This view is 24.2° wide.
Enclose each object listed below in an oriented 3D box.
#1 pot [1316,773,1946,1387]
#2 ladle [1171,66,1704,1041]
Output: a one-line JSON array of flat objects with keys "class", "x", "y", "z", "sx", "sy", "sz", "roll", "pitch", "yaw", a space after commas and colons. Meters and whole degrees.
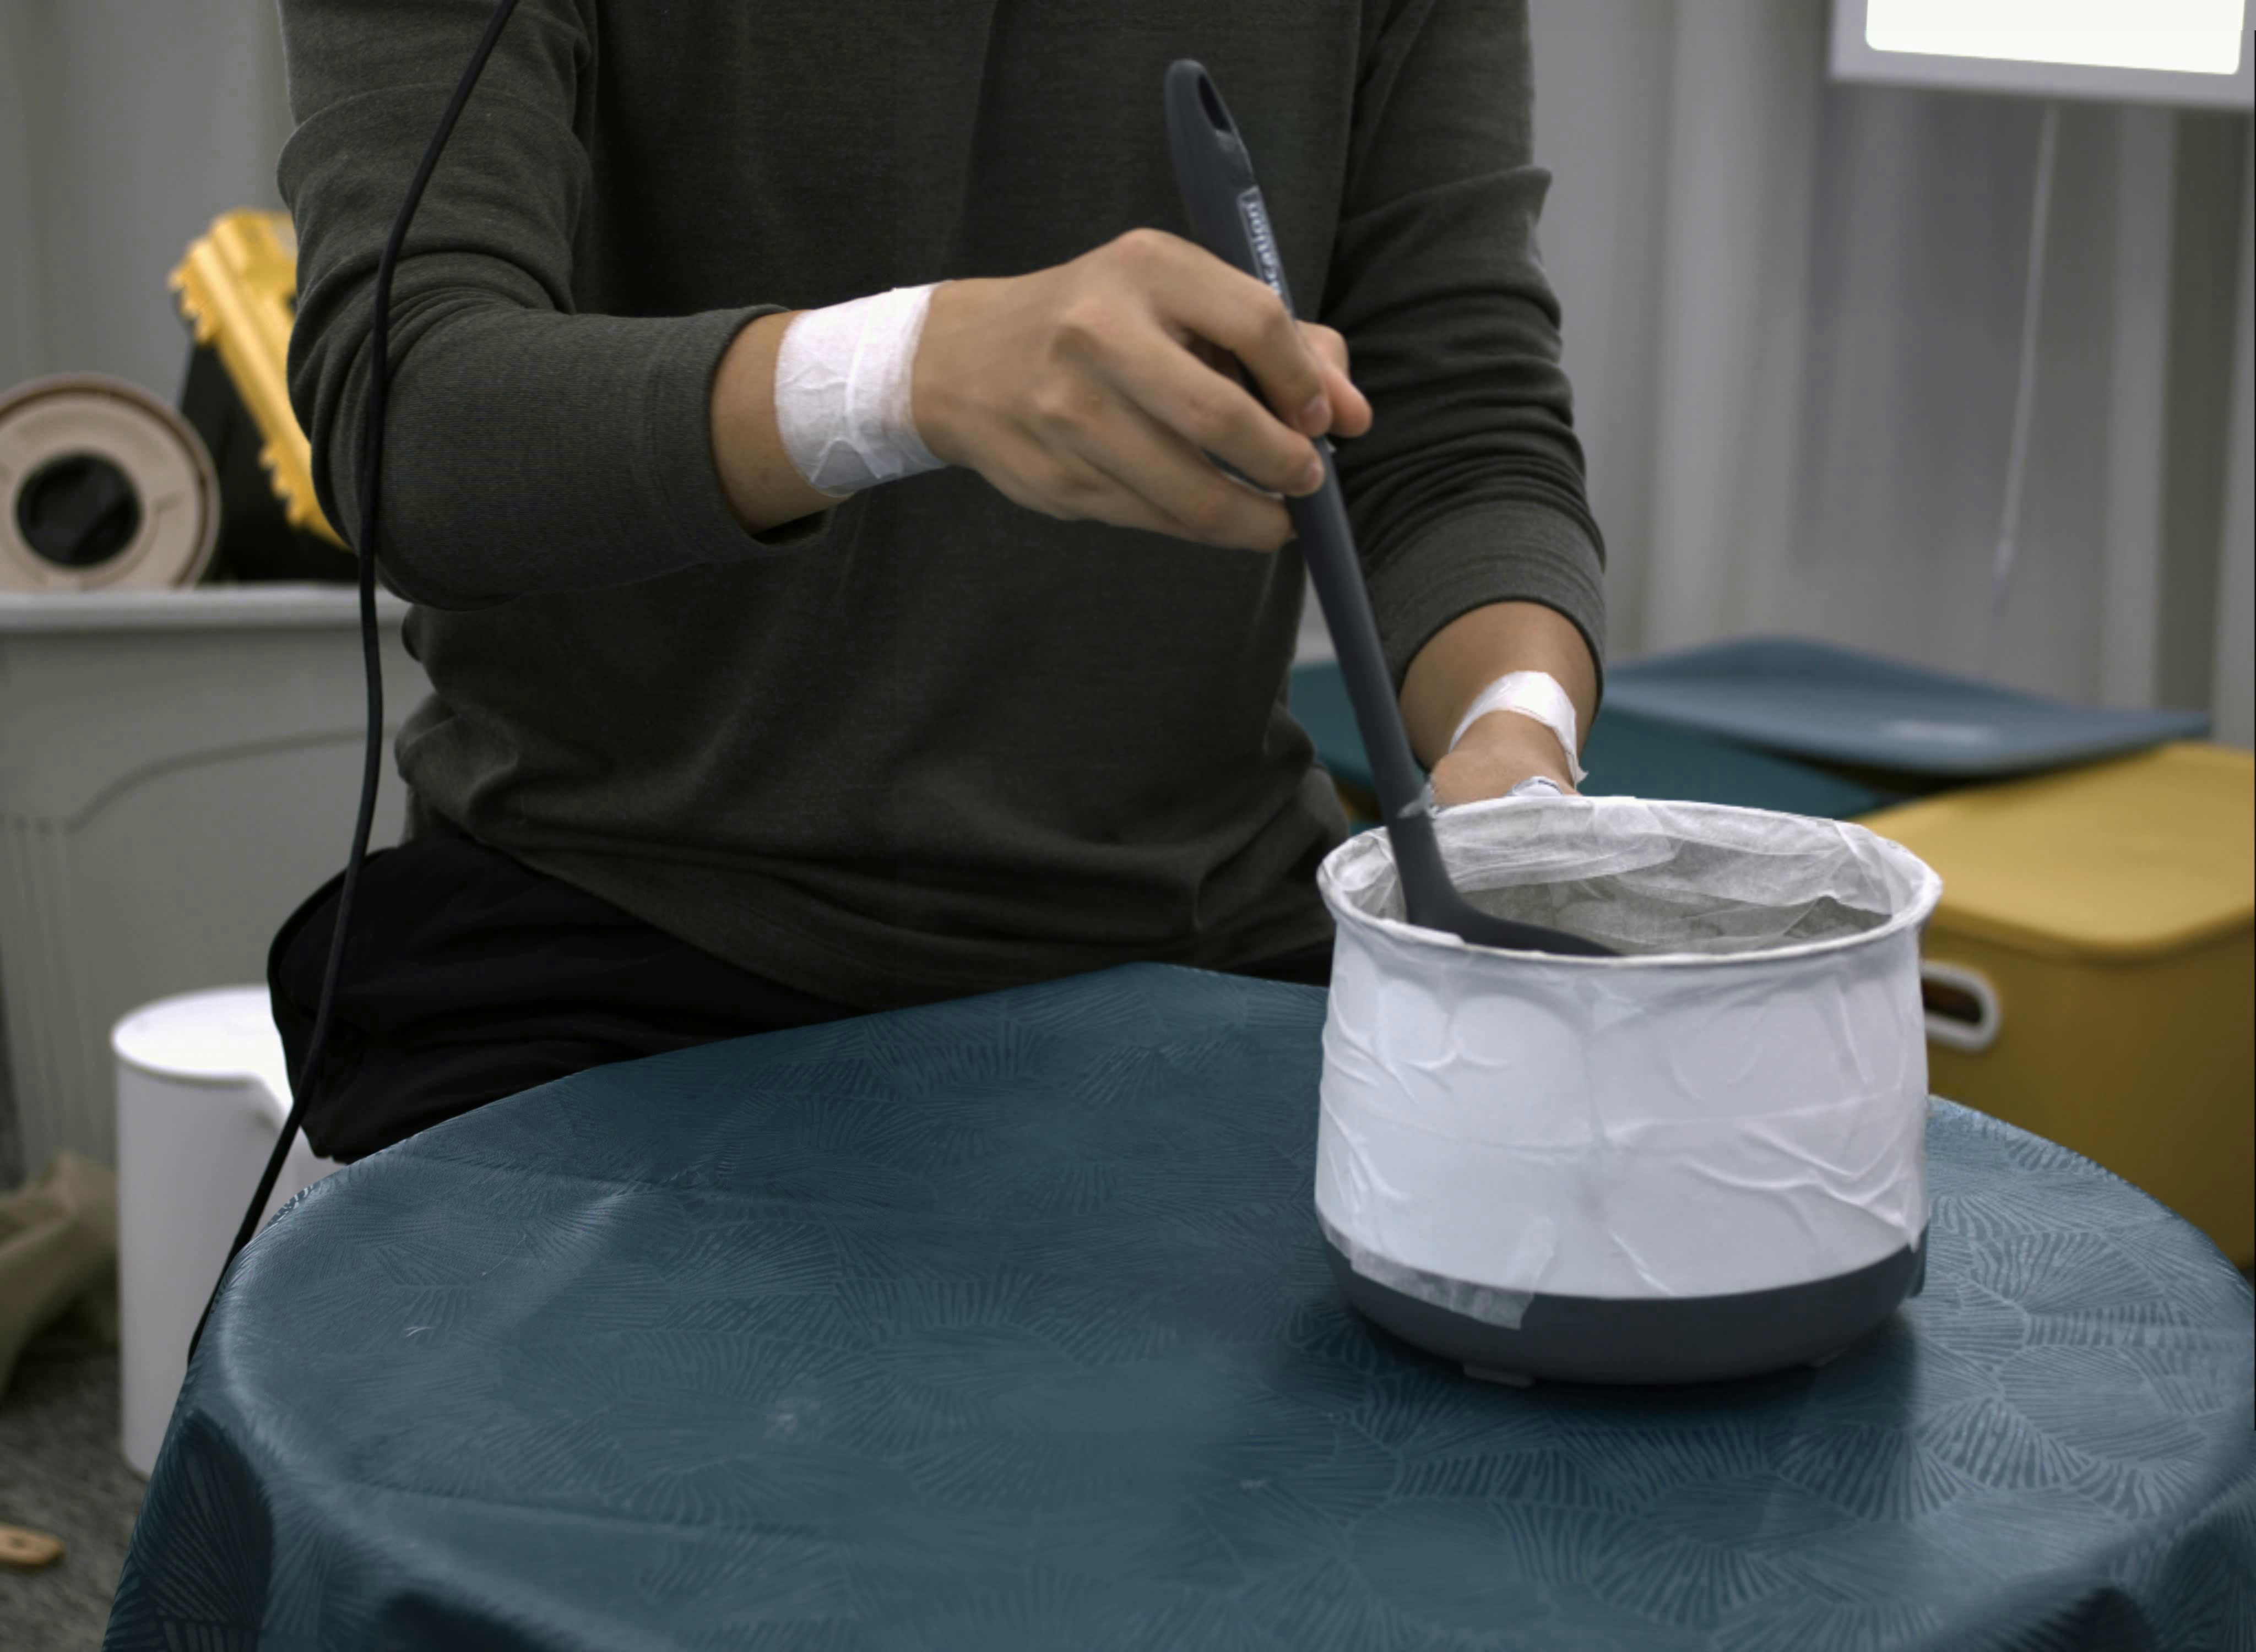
[{"class": "pot", "x": 0.136, "y": 0.068, "z": 1.531, "sx": 0.179, "sy": 0.137, "sz": 0.231, "roll": -3, "pitch": 15, "yaw": -12}, {"class": "ladle", "x": 0.083, "y": -0.065, "z": 1.462, "sx": 0.063, "sy": 0.316, "sz": 0.086, "roll": -12, "pitch": 11, "yaw": 29}]
